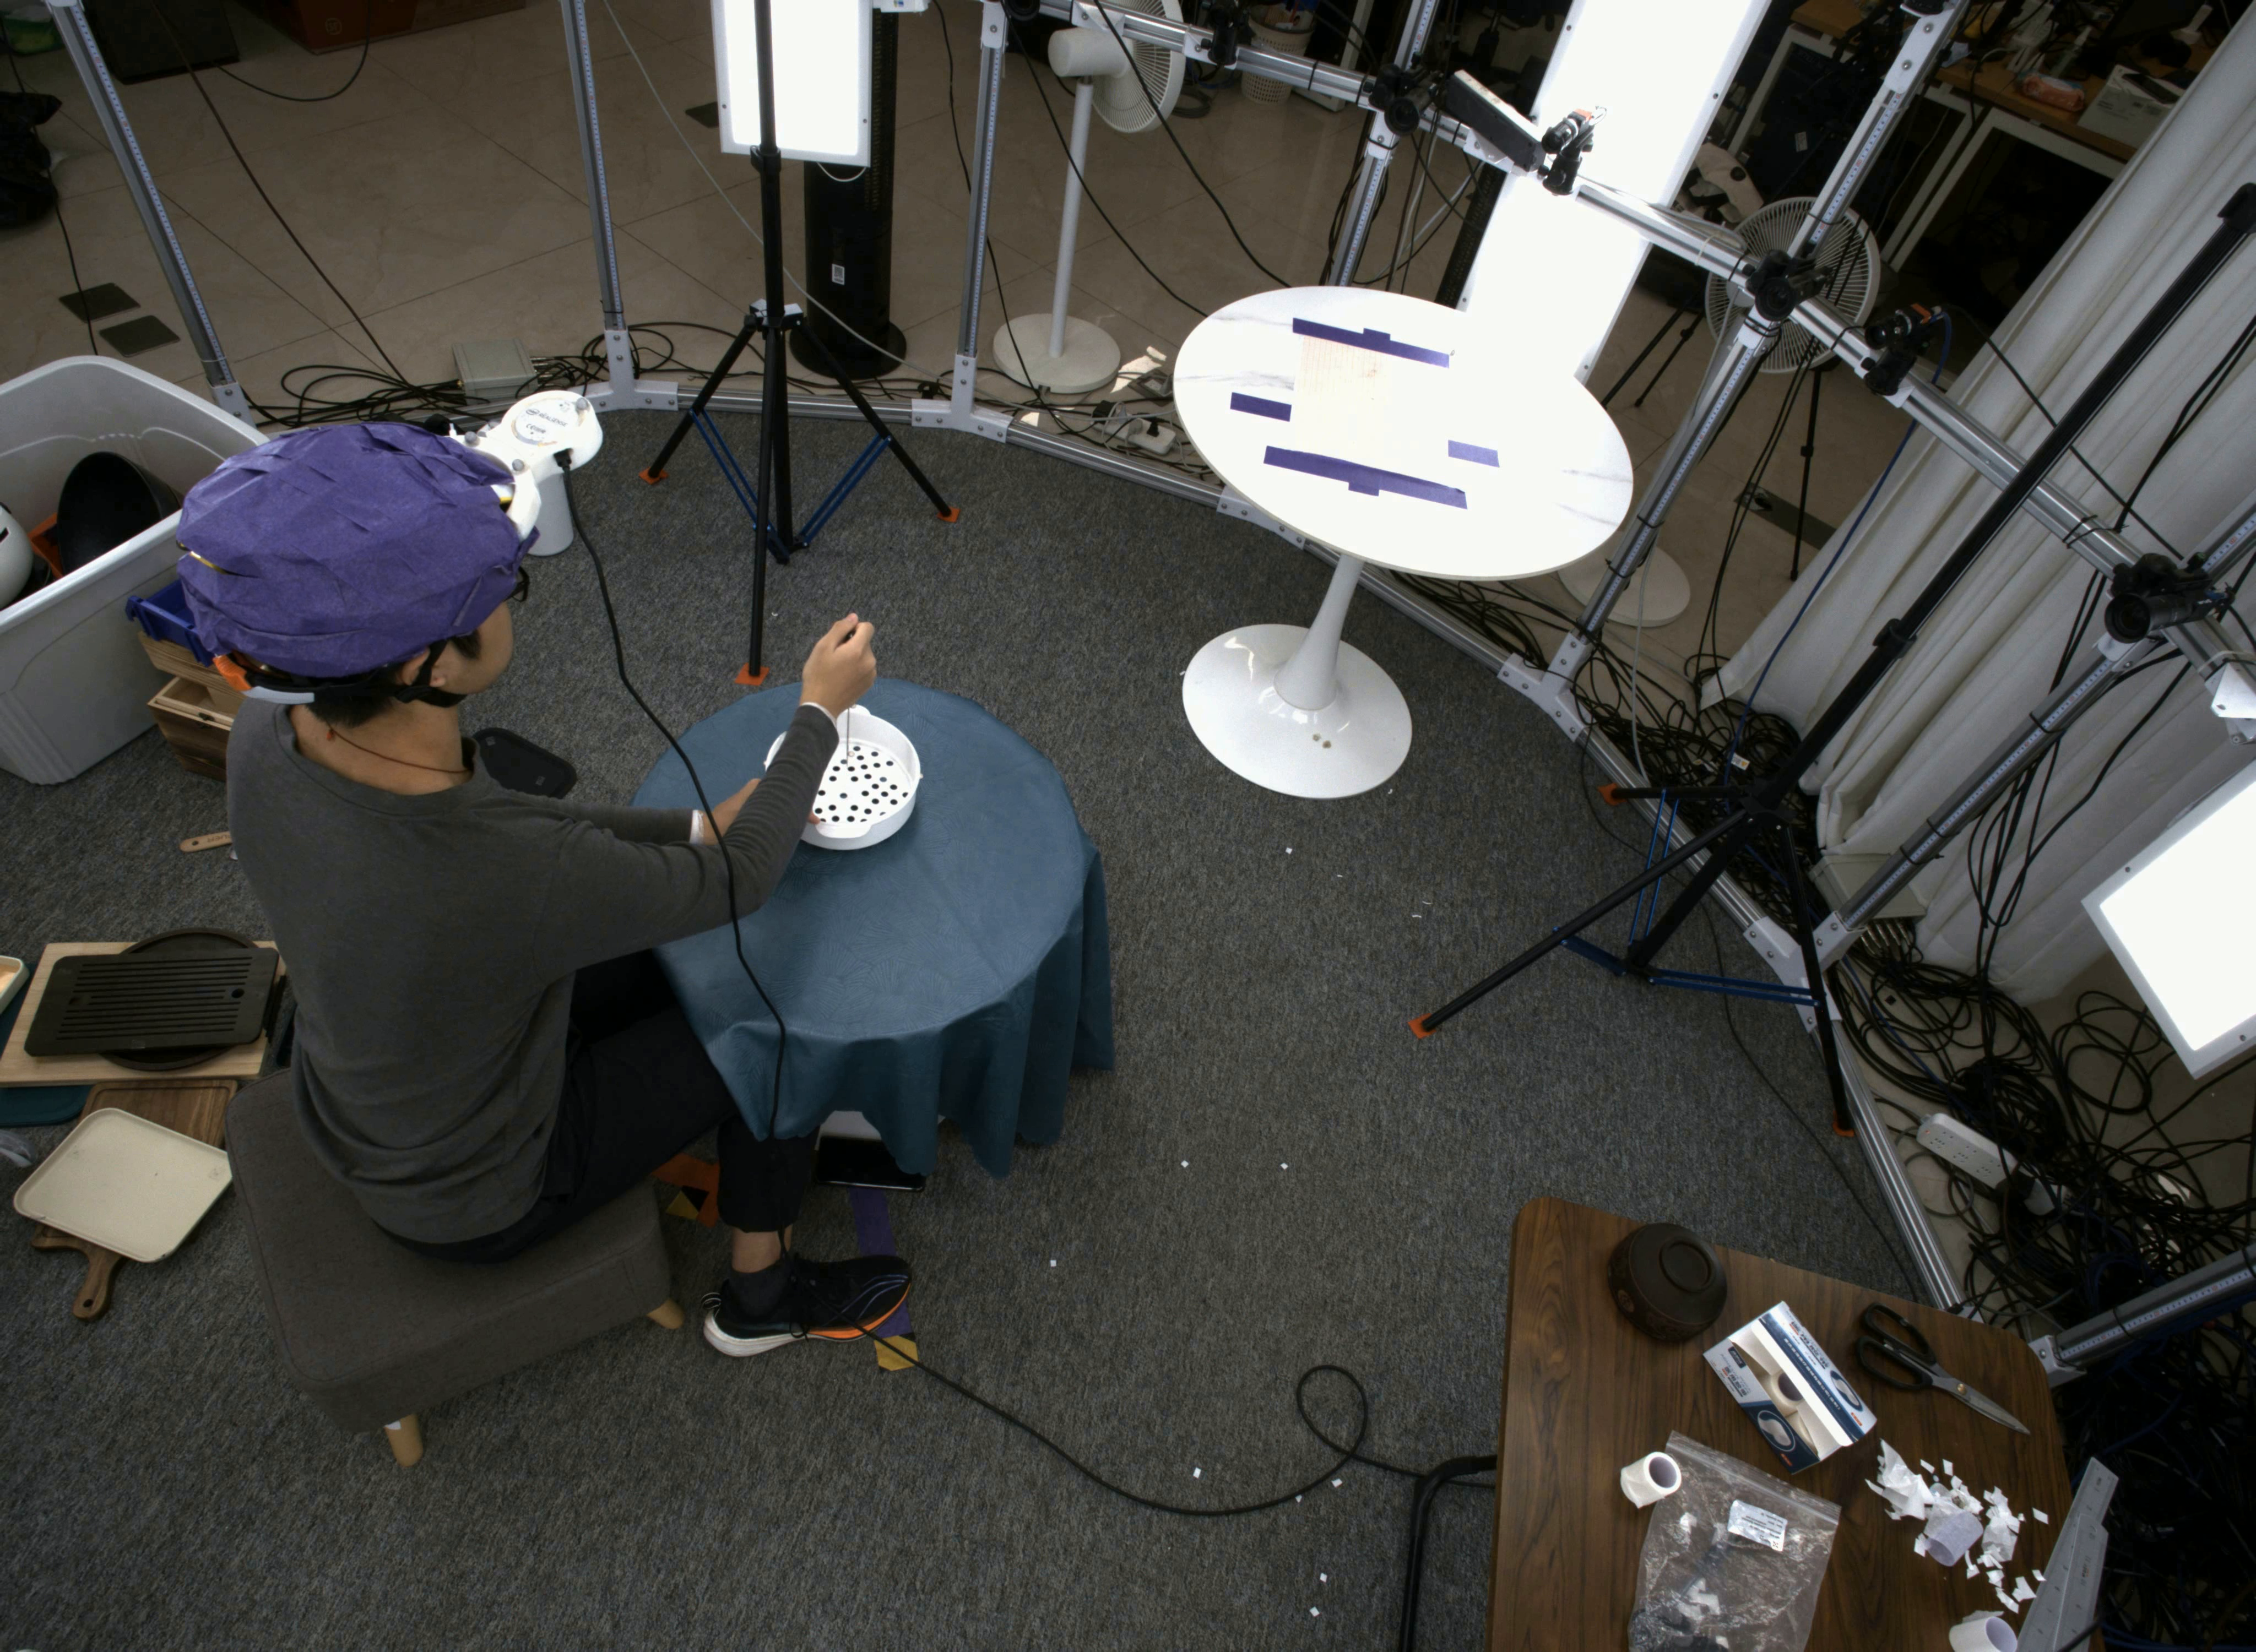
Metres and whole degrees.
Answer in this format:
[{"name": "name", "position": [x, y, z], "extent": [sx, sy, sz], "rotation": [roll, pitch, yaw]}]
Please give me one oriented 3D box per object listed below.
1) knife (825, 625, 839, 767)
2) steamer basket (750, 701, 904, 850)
[{"name": "knife", "position": [-0.381, -0.158, 1.665], "extent": [0.016, 0.243, 0.024], "rotation": [8, 48, -6]}, {"name": "steamer basket", "position": [-0.403, -0.062, 1.743], "extent": [0.202, 0.070, 0.226], "rotation": [0, 55, -13]}]
